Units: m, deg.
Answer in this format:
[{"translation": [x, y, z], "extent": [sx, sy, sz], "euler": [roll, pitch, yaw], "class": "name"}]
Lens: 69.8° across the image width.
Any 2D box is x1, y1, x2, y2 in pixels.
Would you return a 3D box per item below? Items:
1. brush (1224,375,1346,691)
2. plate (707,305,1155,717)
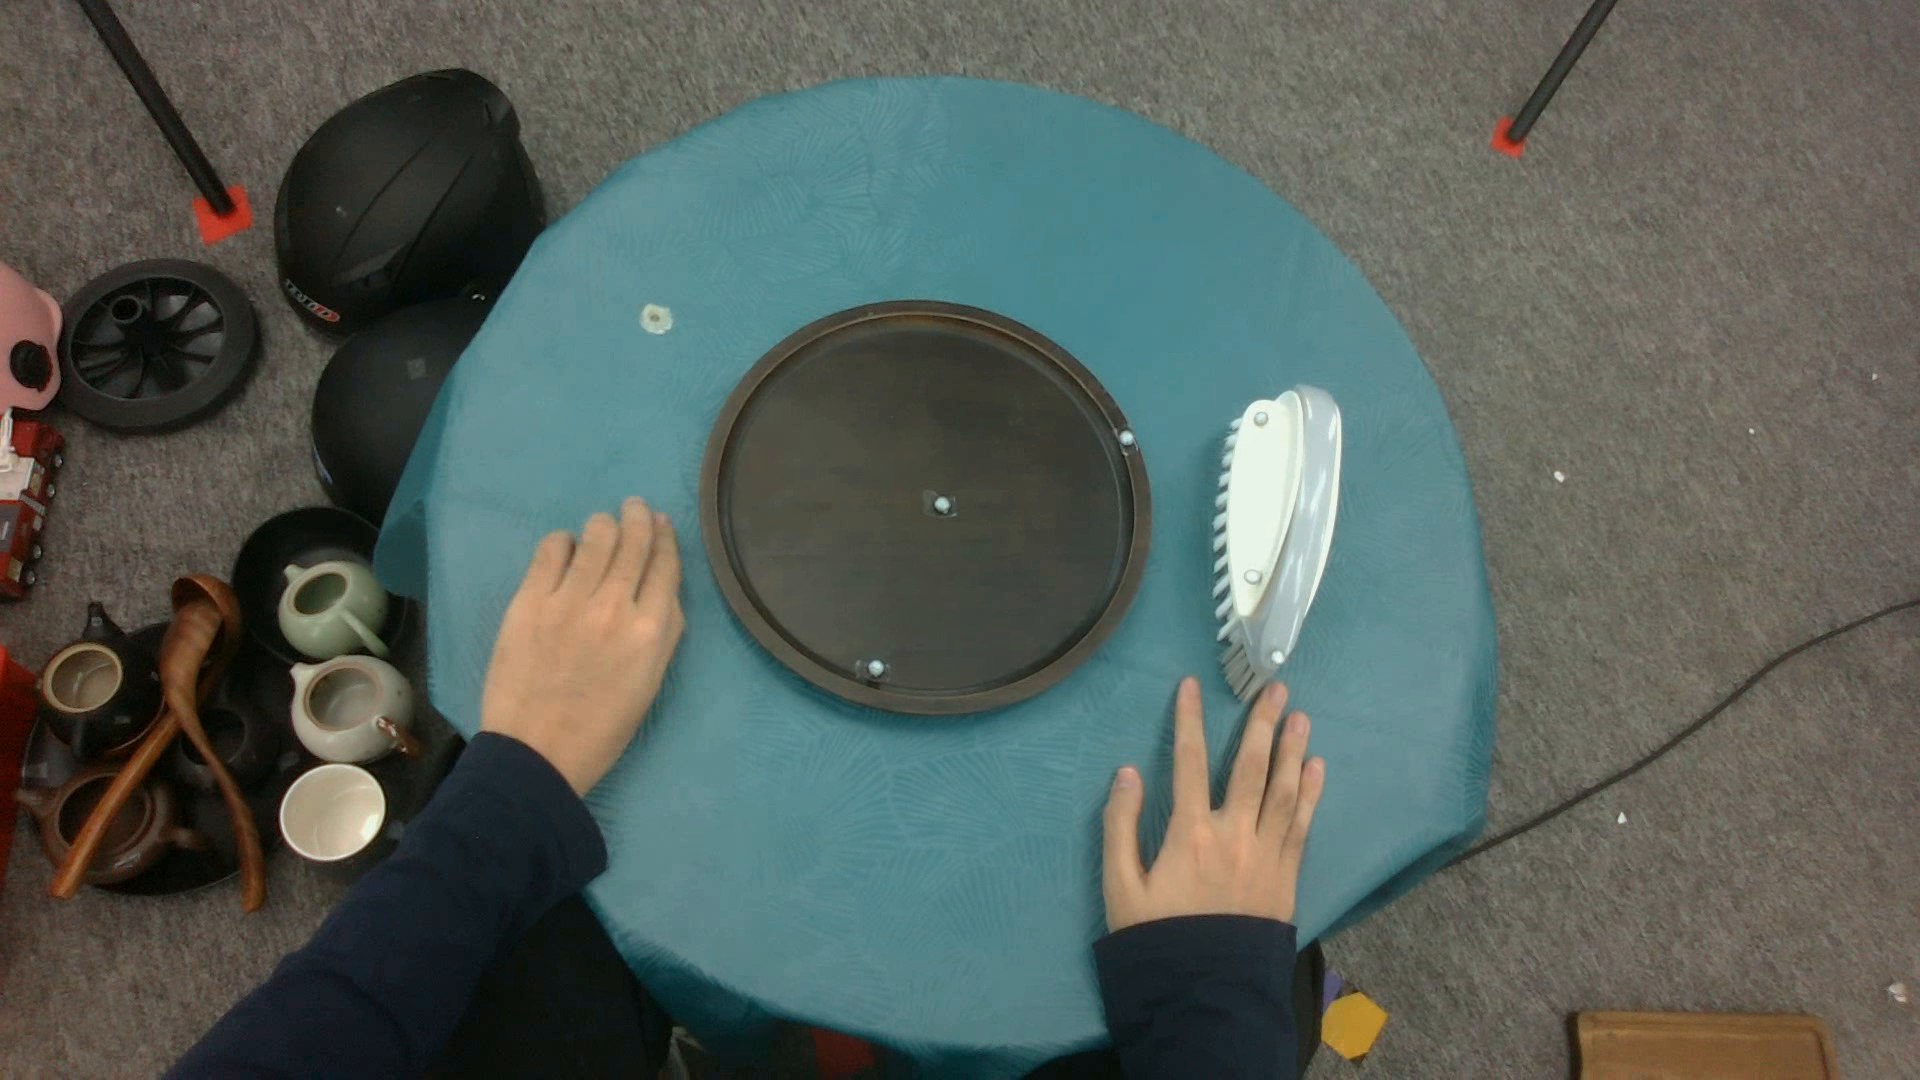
[{"translation": [0.182, -0.010, 0.763], "extent": [0.061, 0.094, 0.176], "euler": [12, 69, -1], "class": "brush"}, {"translation": [-0.015, -0.021, 0.780], "extent": [0.255, 0.029, 0.255], "euler": [3, 66, -6], "class": "plate"}]
